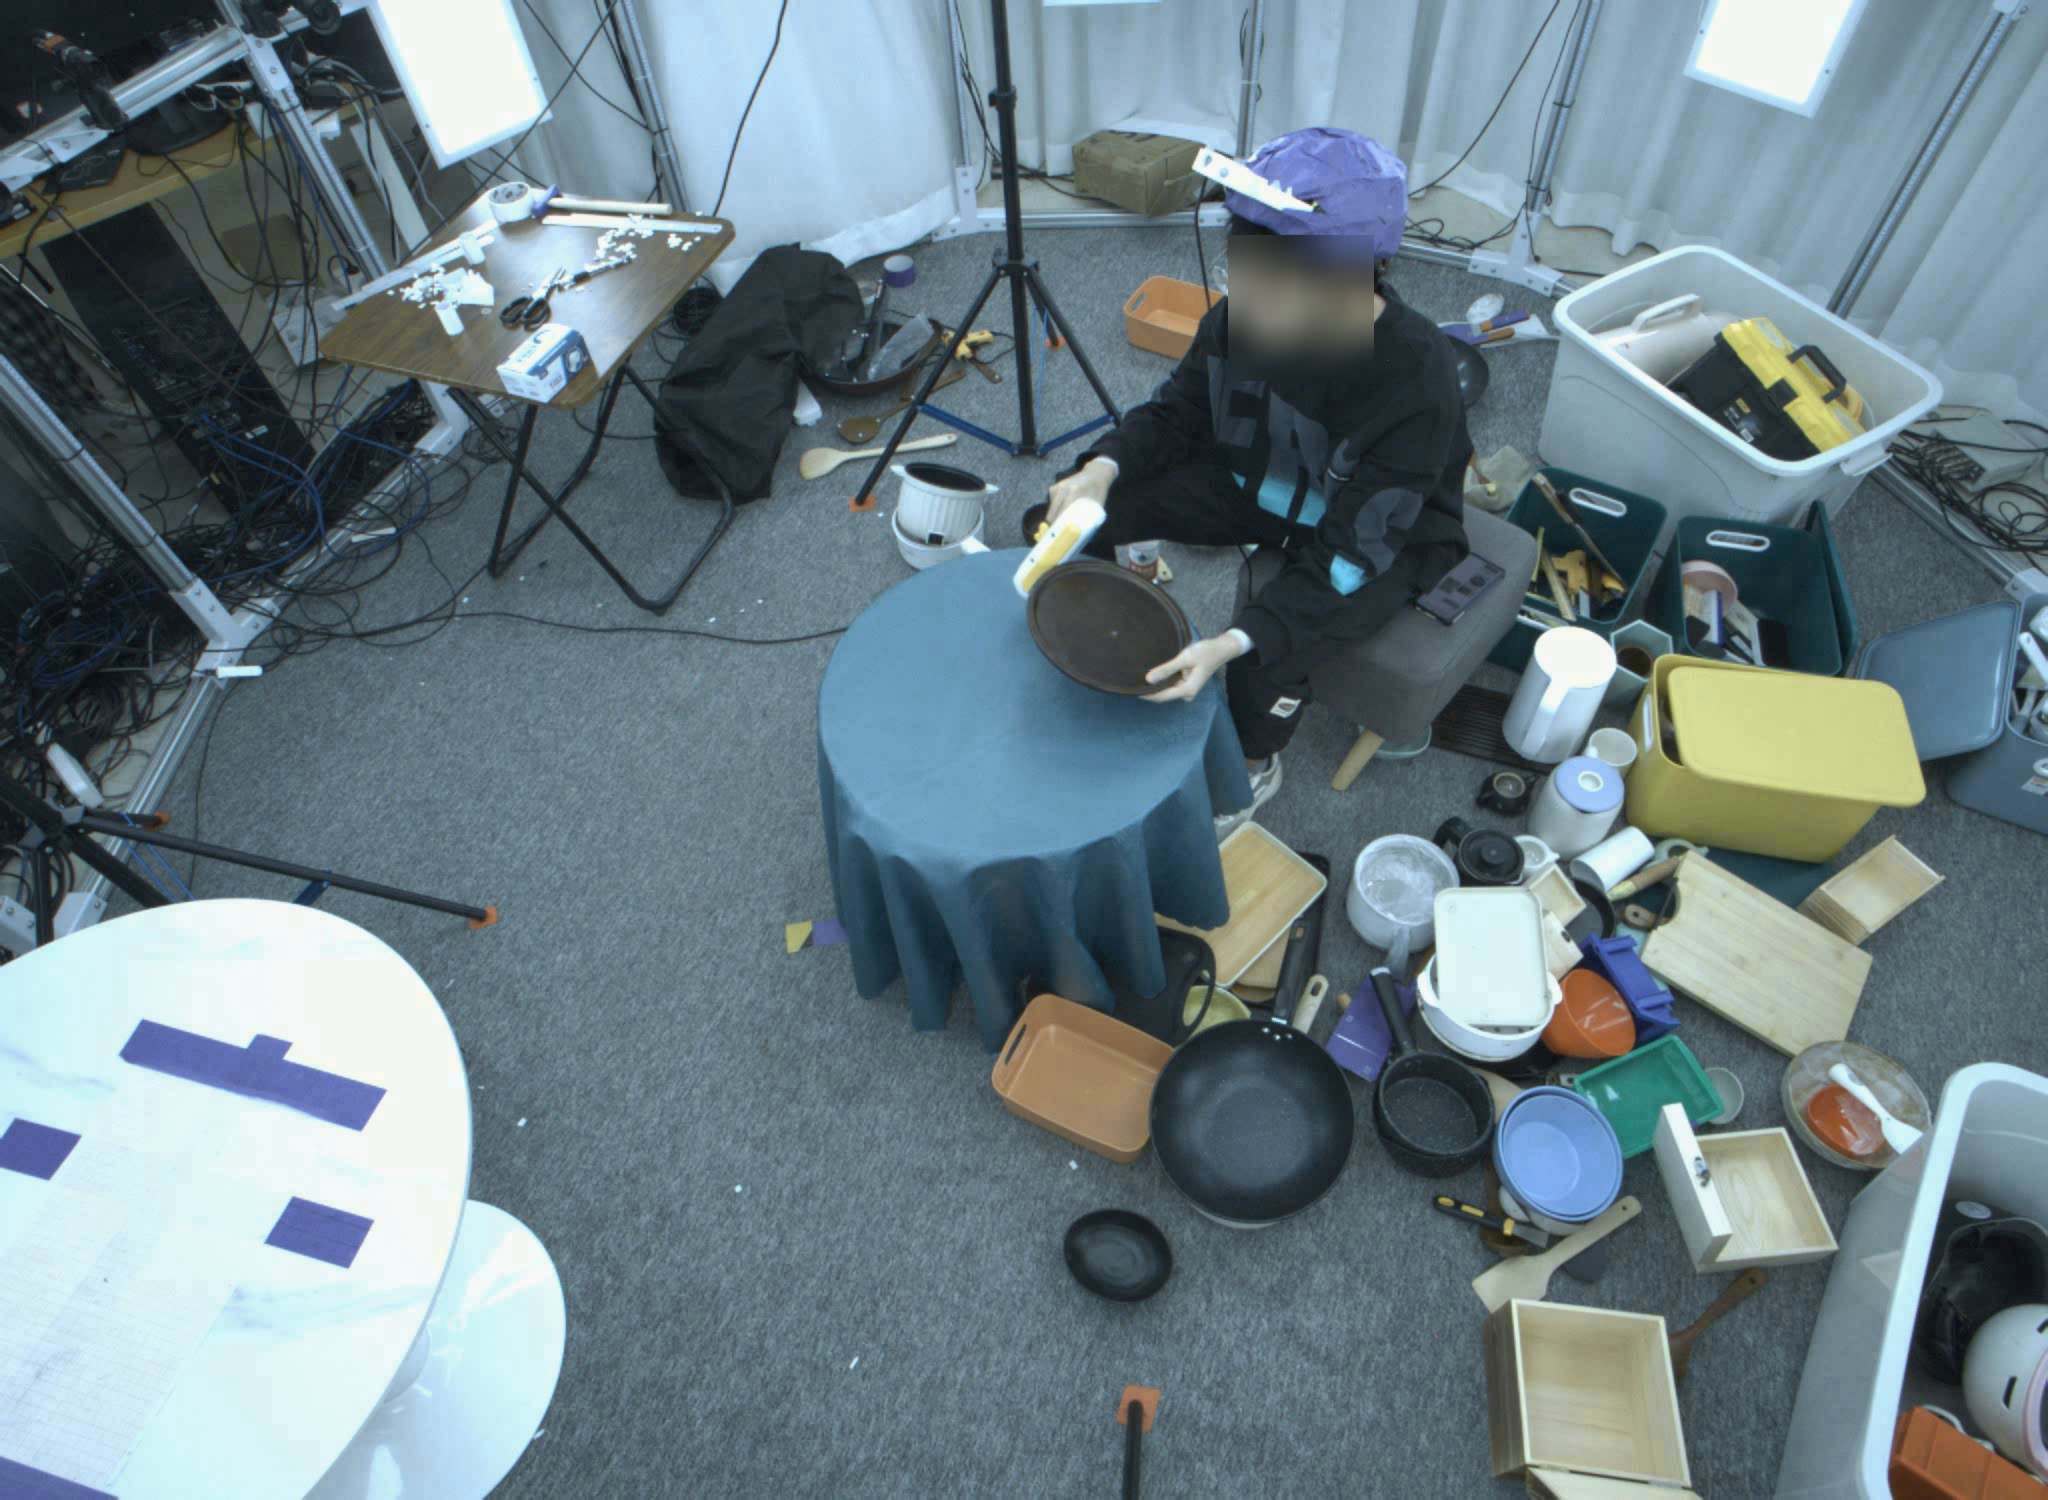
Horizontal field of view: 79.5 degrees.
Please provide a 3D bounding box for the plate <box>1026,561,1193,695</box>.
[{"bbox_3d":[0.123,-0.178,1.783,0.258,0.029,0.252,12,52,-14],"label":"plate"}]

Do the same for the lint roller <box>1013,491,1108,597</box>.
[{"bbox_3d":[0.065,-0.338,1.876,0.074,0.192,0.193,36,36,-2],"label":"lint roller"}]
